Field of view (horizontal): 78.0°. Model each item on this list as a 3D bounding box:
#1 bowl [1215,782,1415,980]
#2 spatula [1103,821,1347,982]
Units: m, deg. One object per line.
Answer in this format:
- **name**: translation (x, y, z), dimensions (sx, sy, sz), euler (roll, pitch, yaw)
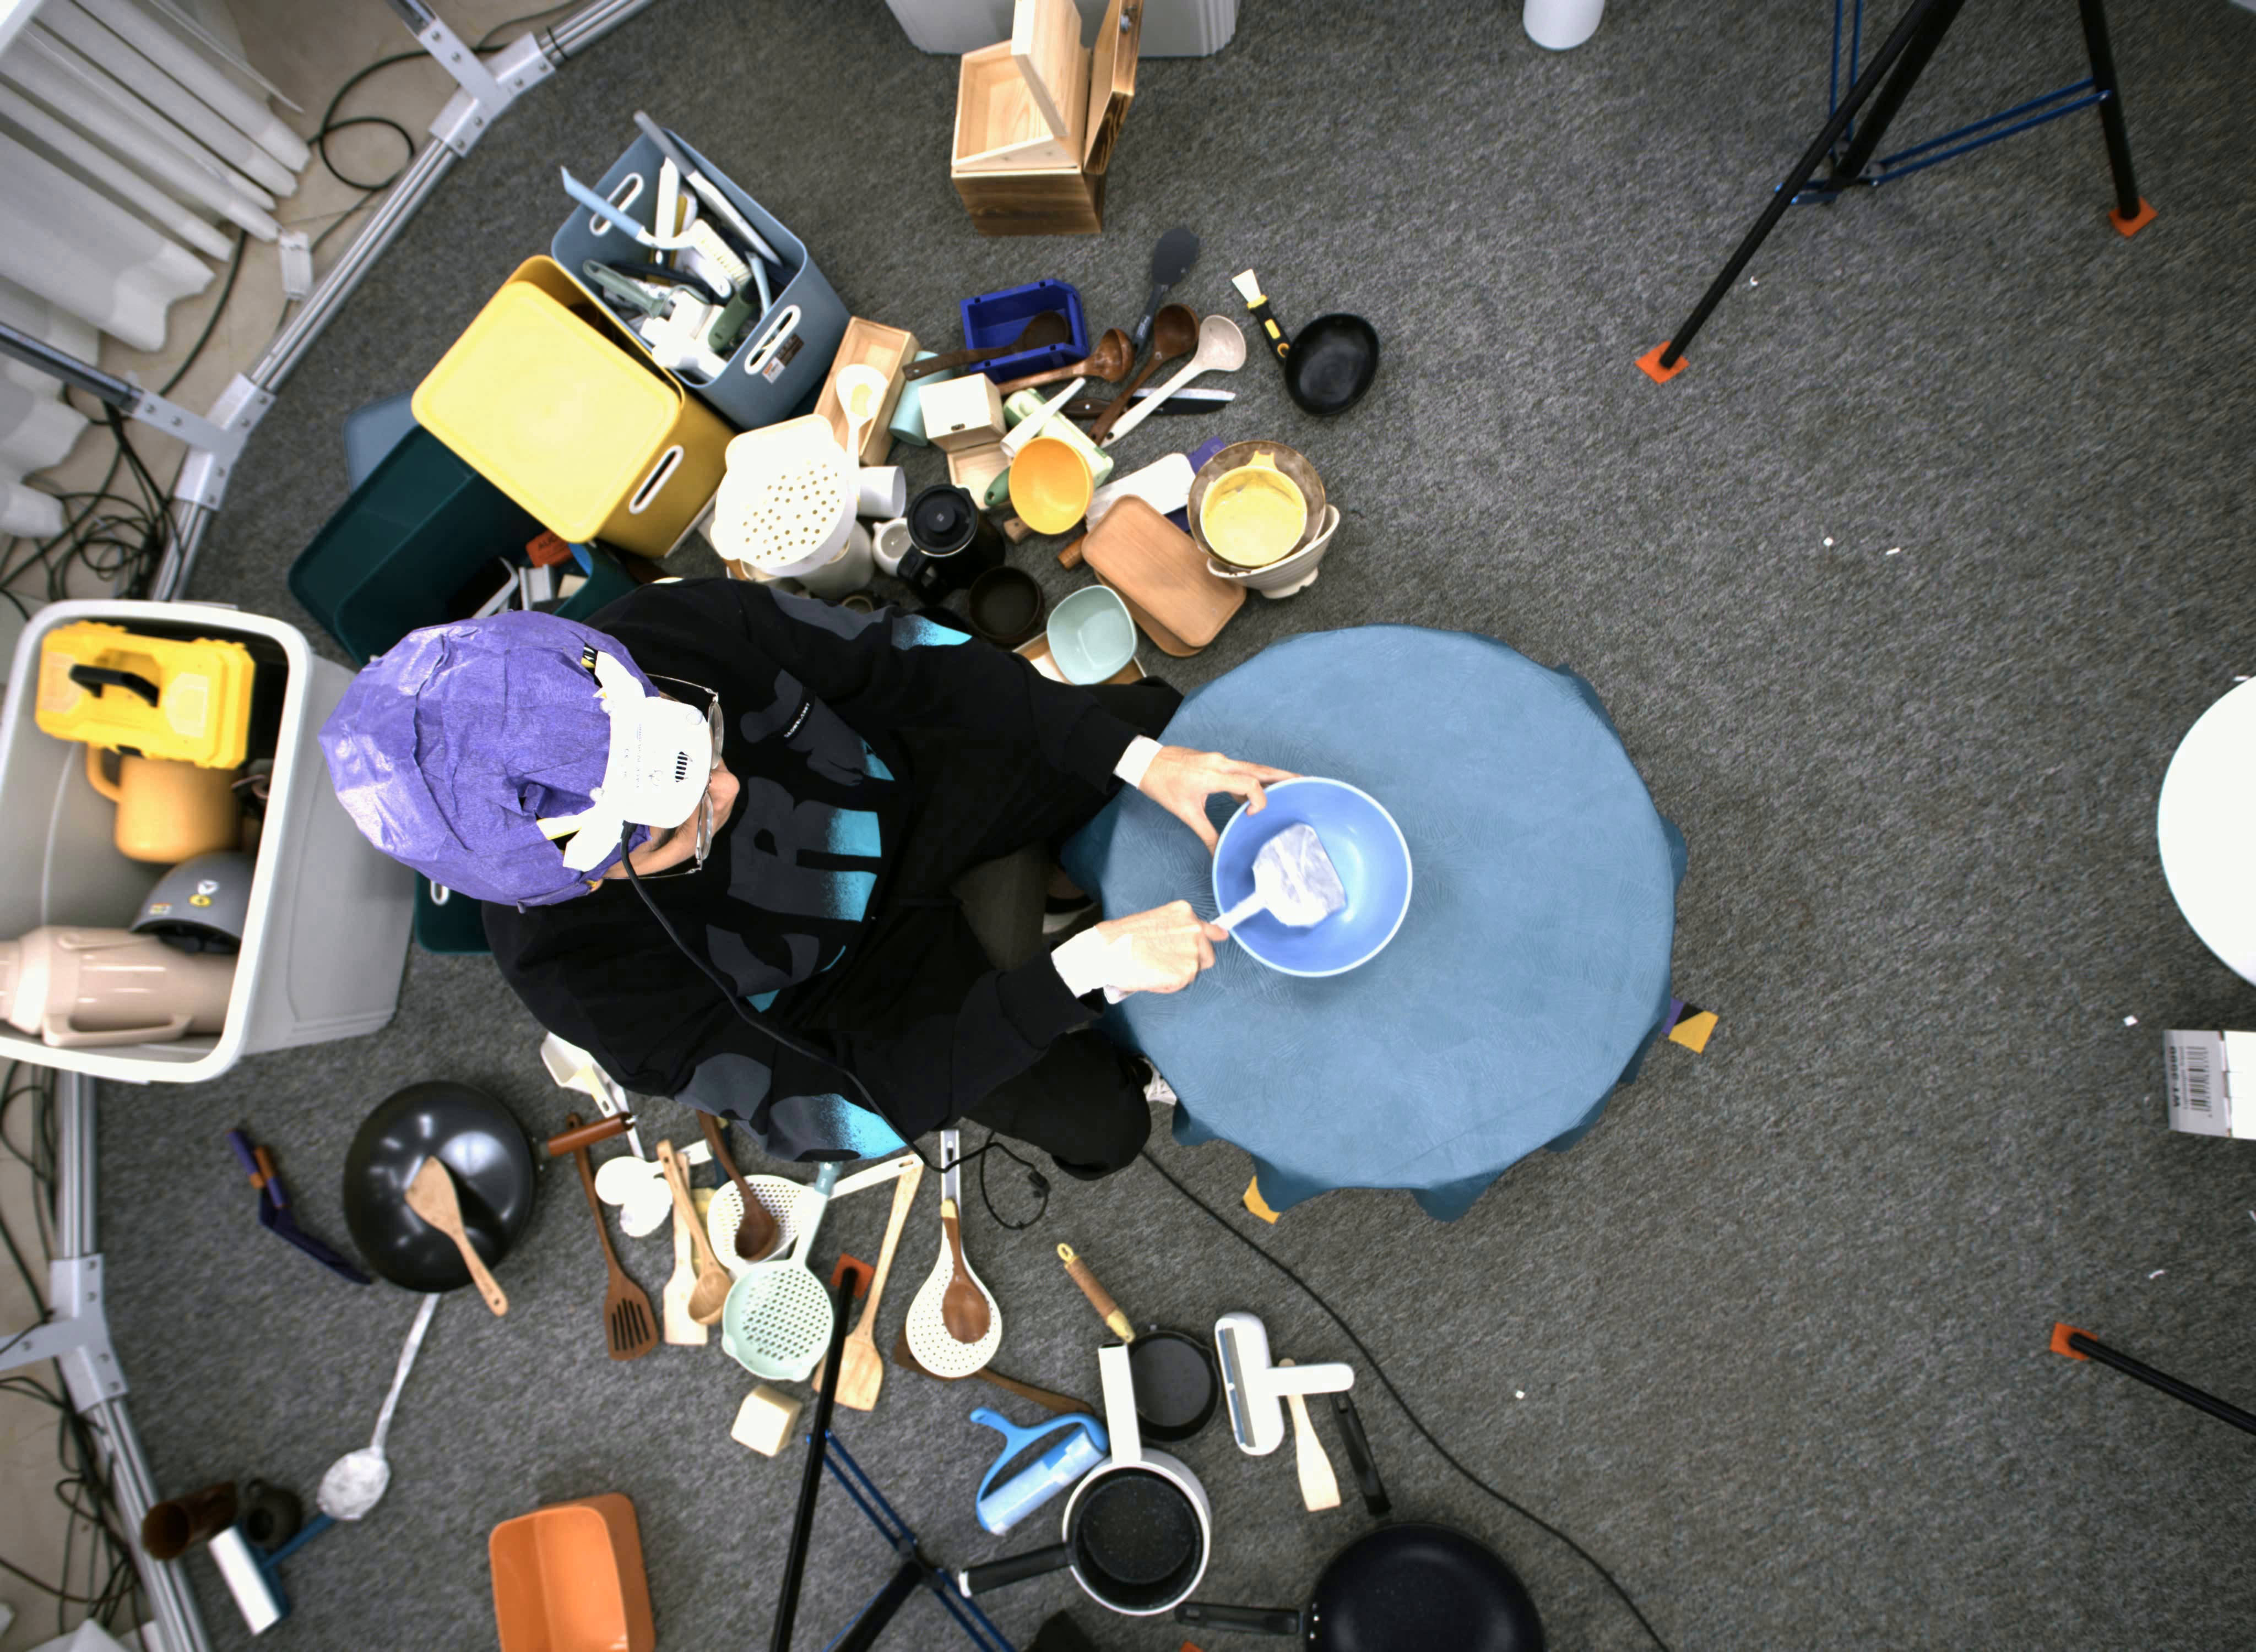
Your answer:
- **bowl**: translation (0.191, 0.053, 1.409), dimensions (0.197, 0.095, 0.197), euler (0, 93, 11)
- **spatula**: translation (0.099, 0.082, 1.312), dimensions (0.045, 0.359, 0.098), euler (-26, 88, 38)
